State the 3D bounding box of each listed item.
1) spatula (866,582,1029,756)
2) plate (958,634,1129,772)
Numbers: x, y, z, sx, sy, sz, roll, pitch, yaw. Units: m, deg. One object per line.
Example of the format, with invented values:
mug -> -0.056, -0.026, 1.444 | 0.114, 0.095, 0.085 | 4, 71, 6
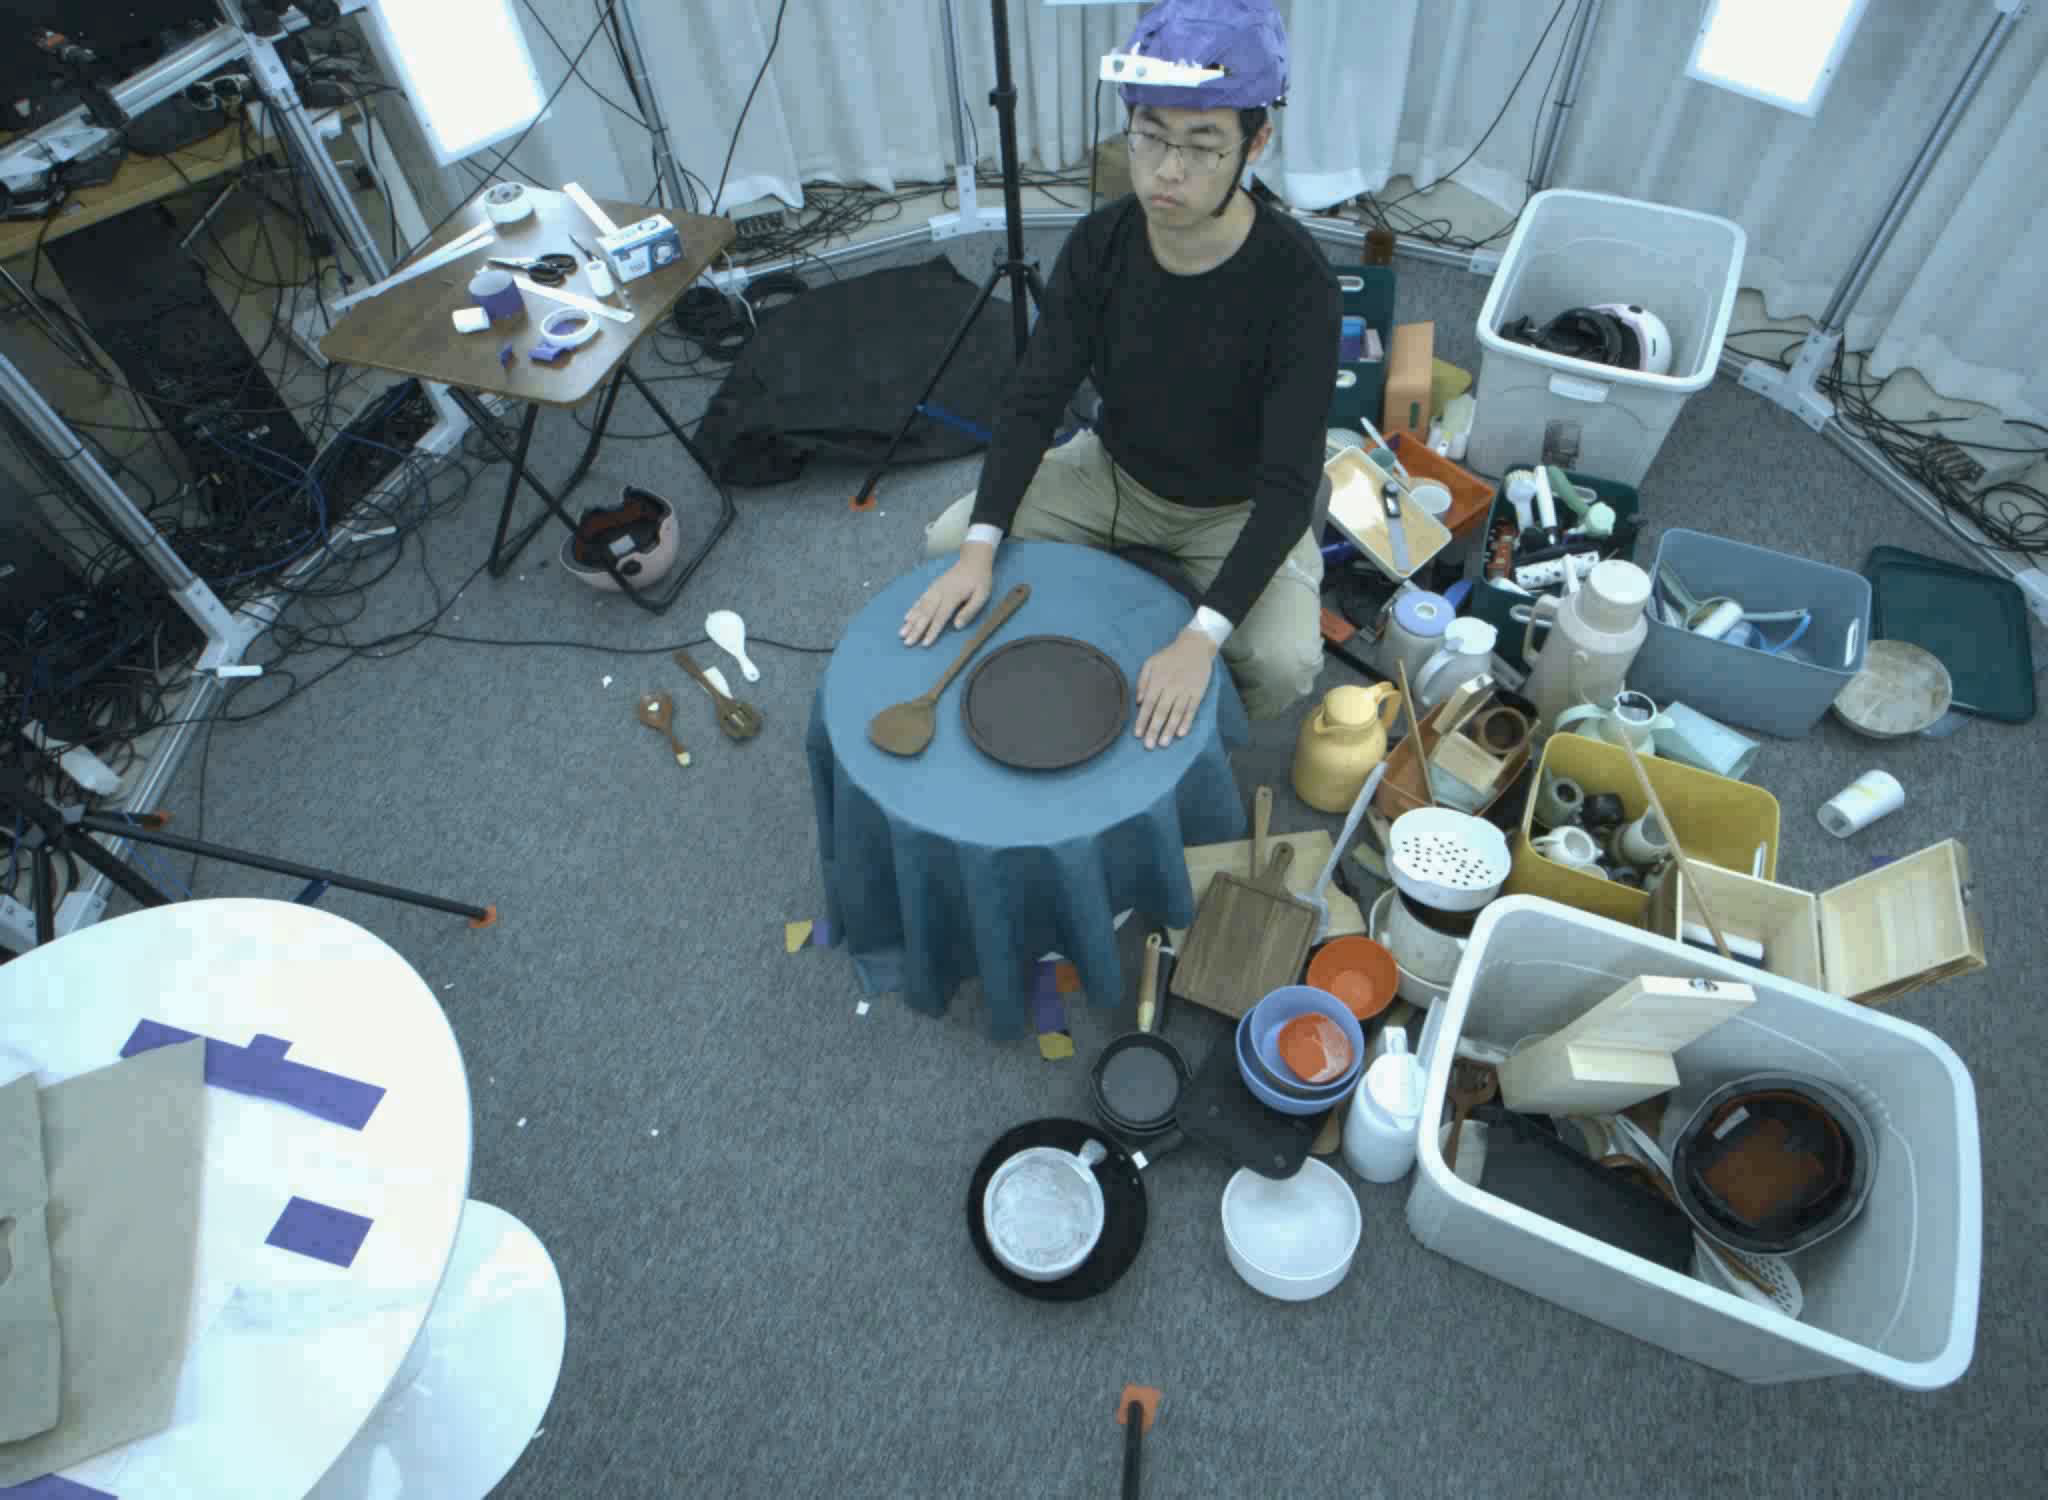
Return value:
spatula -> -0.101, -0.135, 1.877 | 0.095, 0.016, 0.387 | 27, 60, 18
plate -> 0.029, -0.071, 1.822 | 0.254, 0.029, 0.252 | -1, 55, 3
